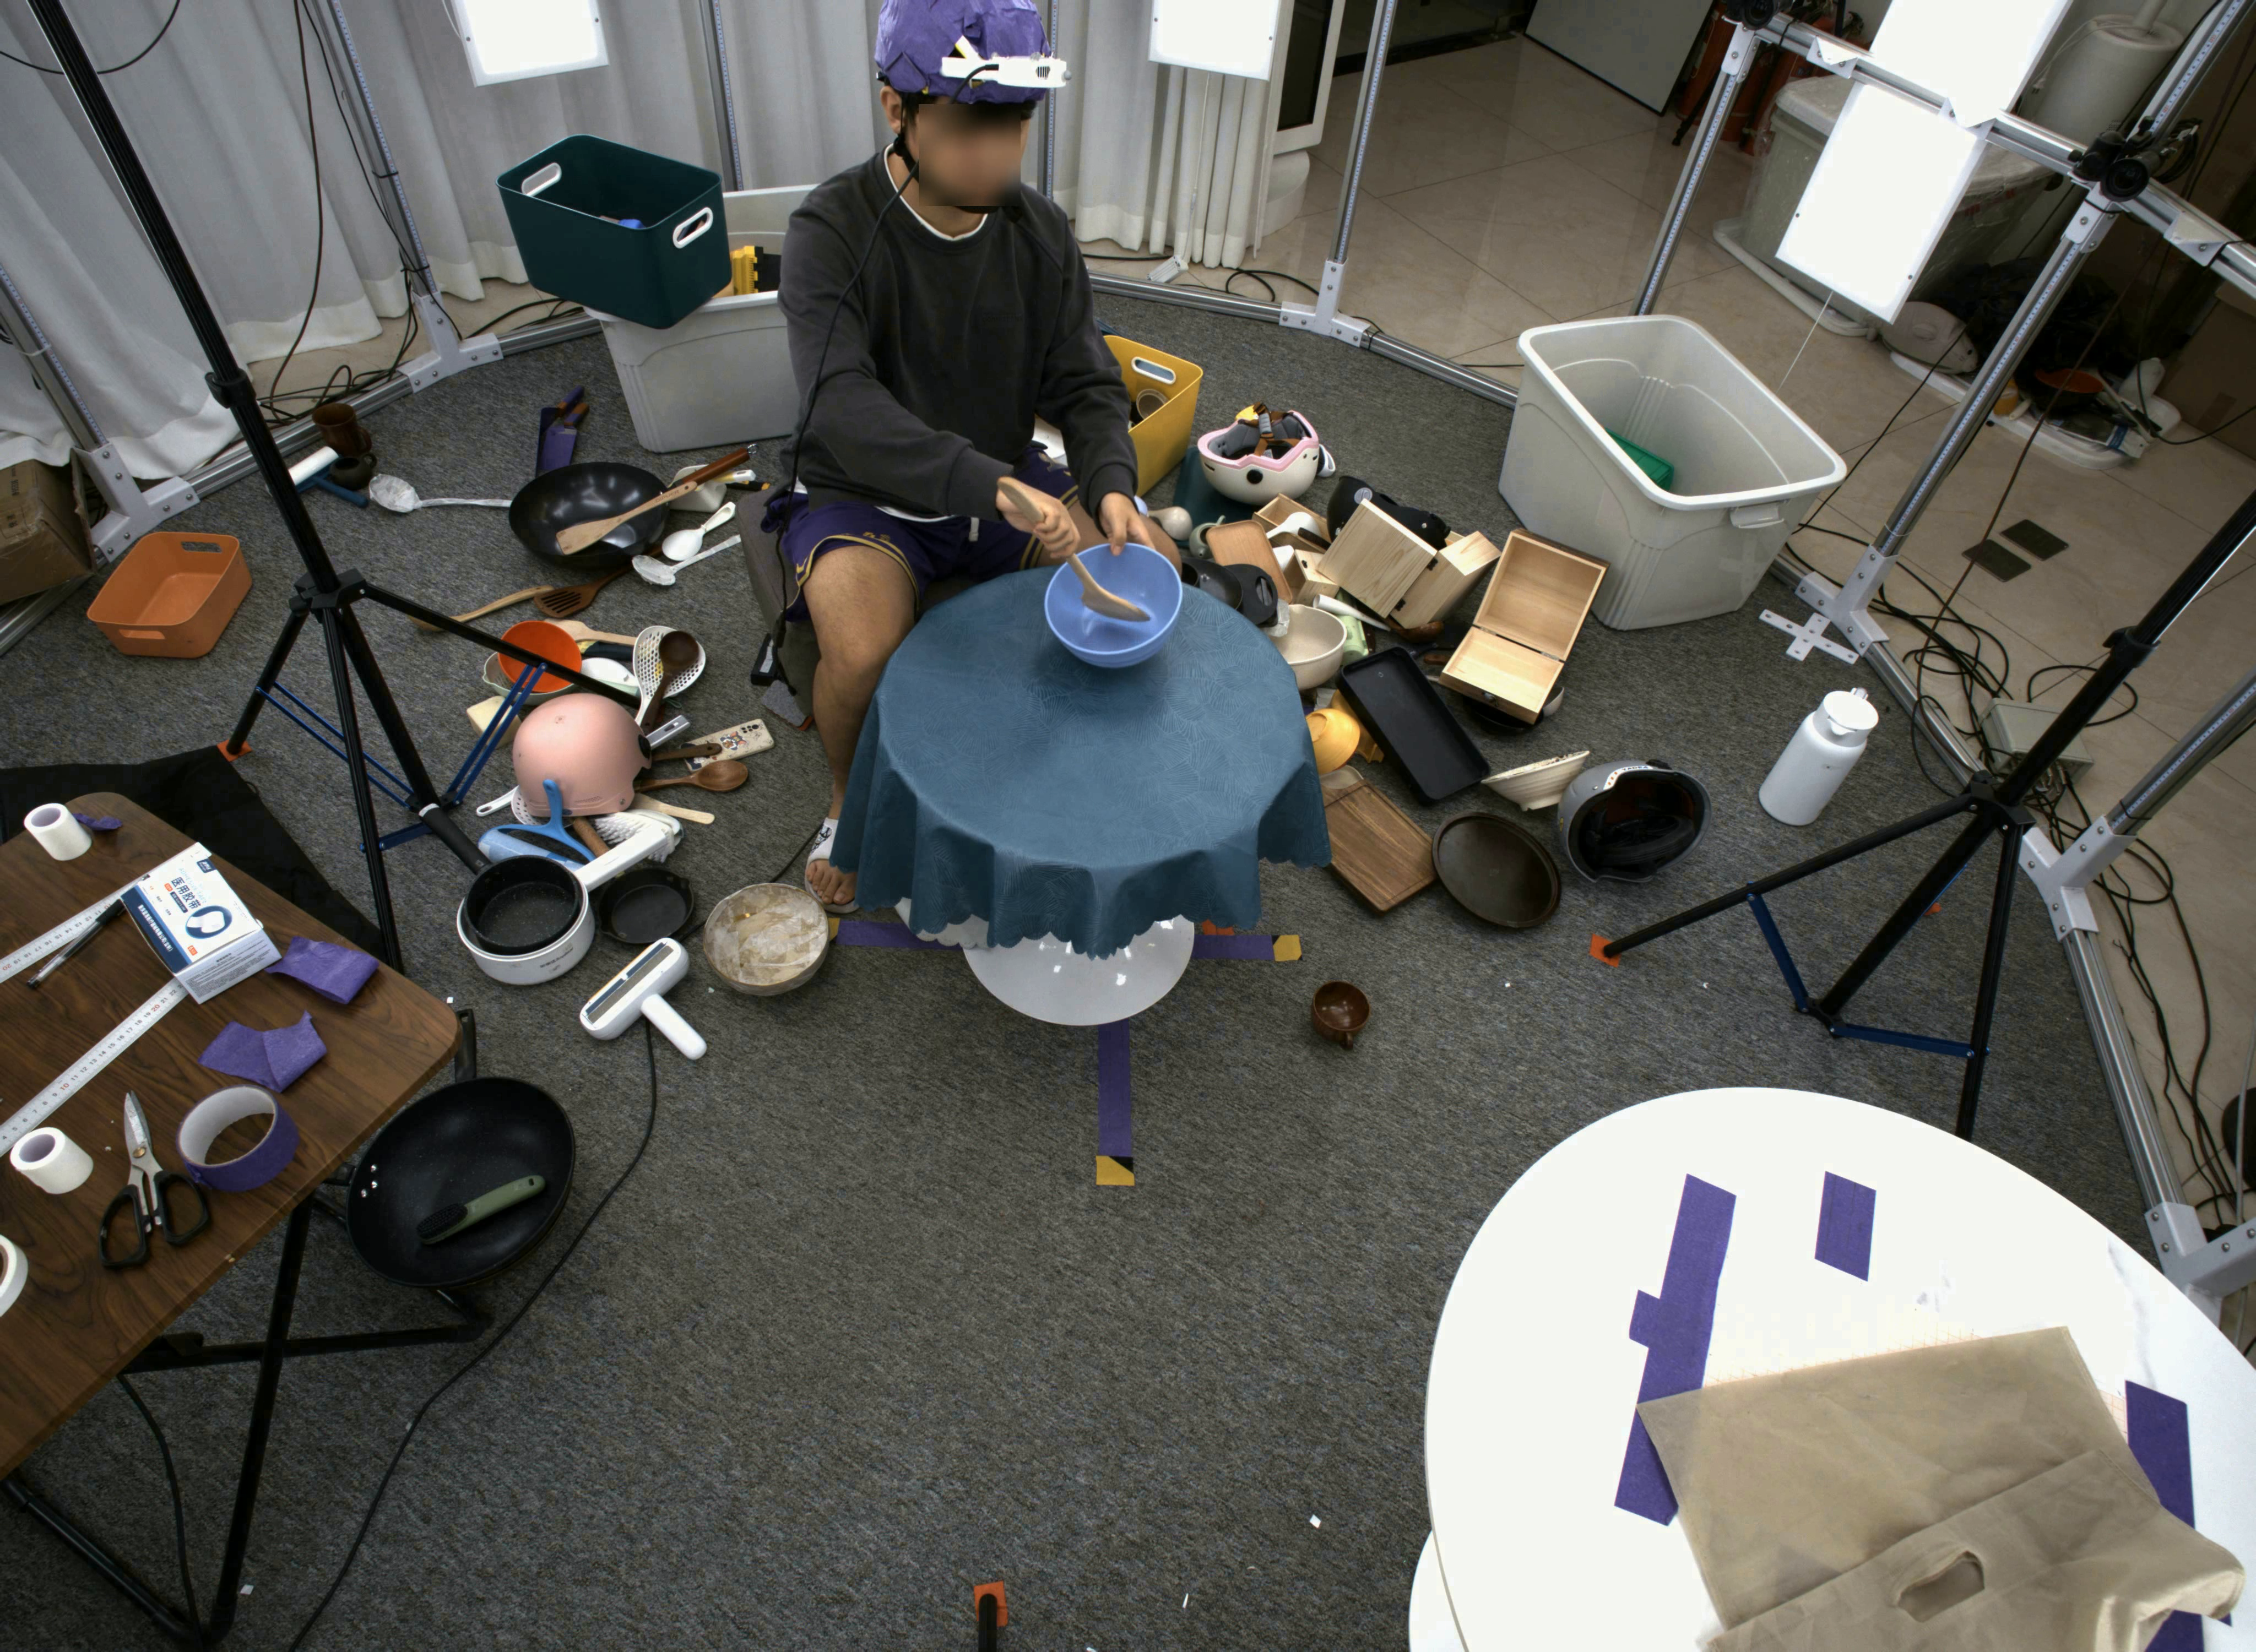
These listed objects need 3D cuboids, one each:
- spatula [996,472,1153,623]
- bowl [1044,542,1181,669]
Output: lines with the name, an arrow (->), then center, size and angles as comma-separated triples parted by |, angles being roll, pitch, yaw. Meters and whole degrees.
spatula -> -0.073, -0.357, 1.702 | 0.096, 0.383, 0.018 | 12, 75, 27
bowl -> -0.015, -0.301, 1.849 | 0.196, 0.093, 0.200 | -4, 62, 8
